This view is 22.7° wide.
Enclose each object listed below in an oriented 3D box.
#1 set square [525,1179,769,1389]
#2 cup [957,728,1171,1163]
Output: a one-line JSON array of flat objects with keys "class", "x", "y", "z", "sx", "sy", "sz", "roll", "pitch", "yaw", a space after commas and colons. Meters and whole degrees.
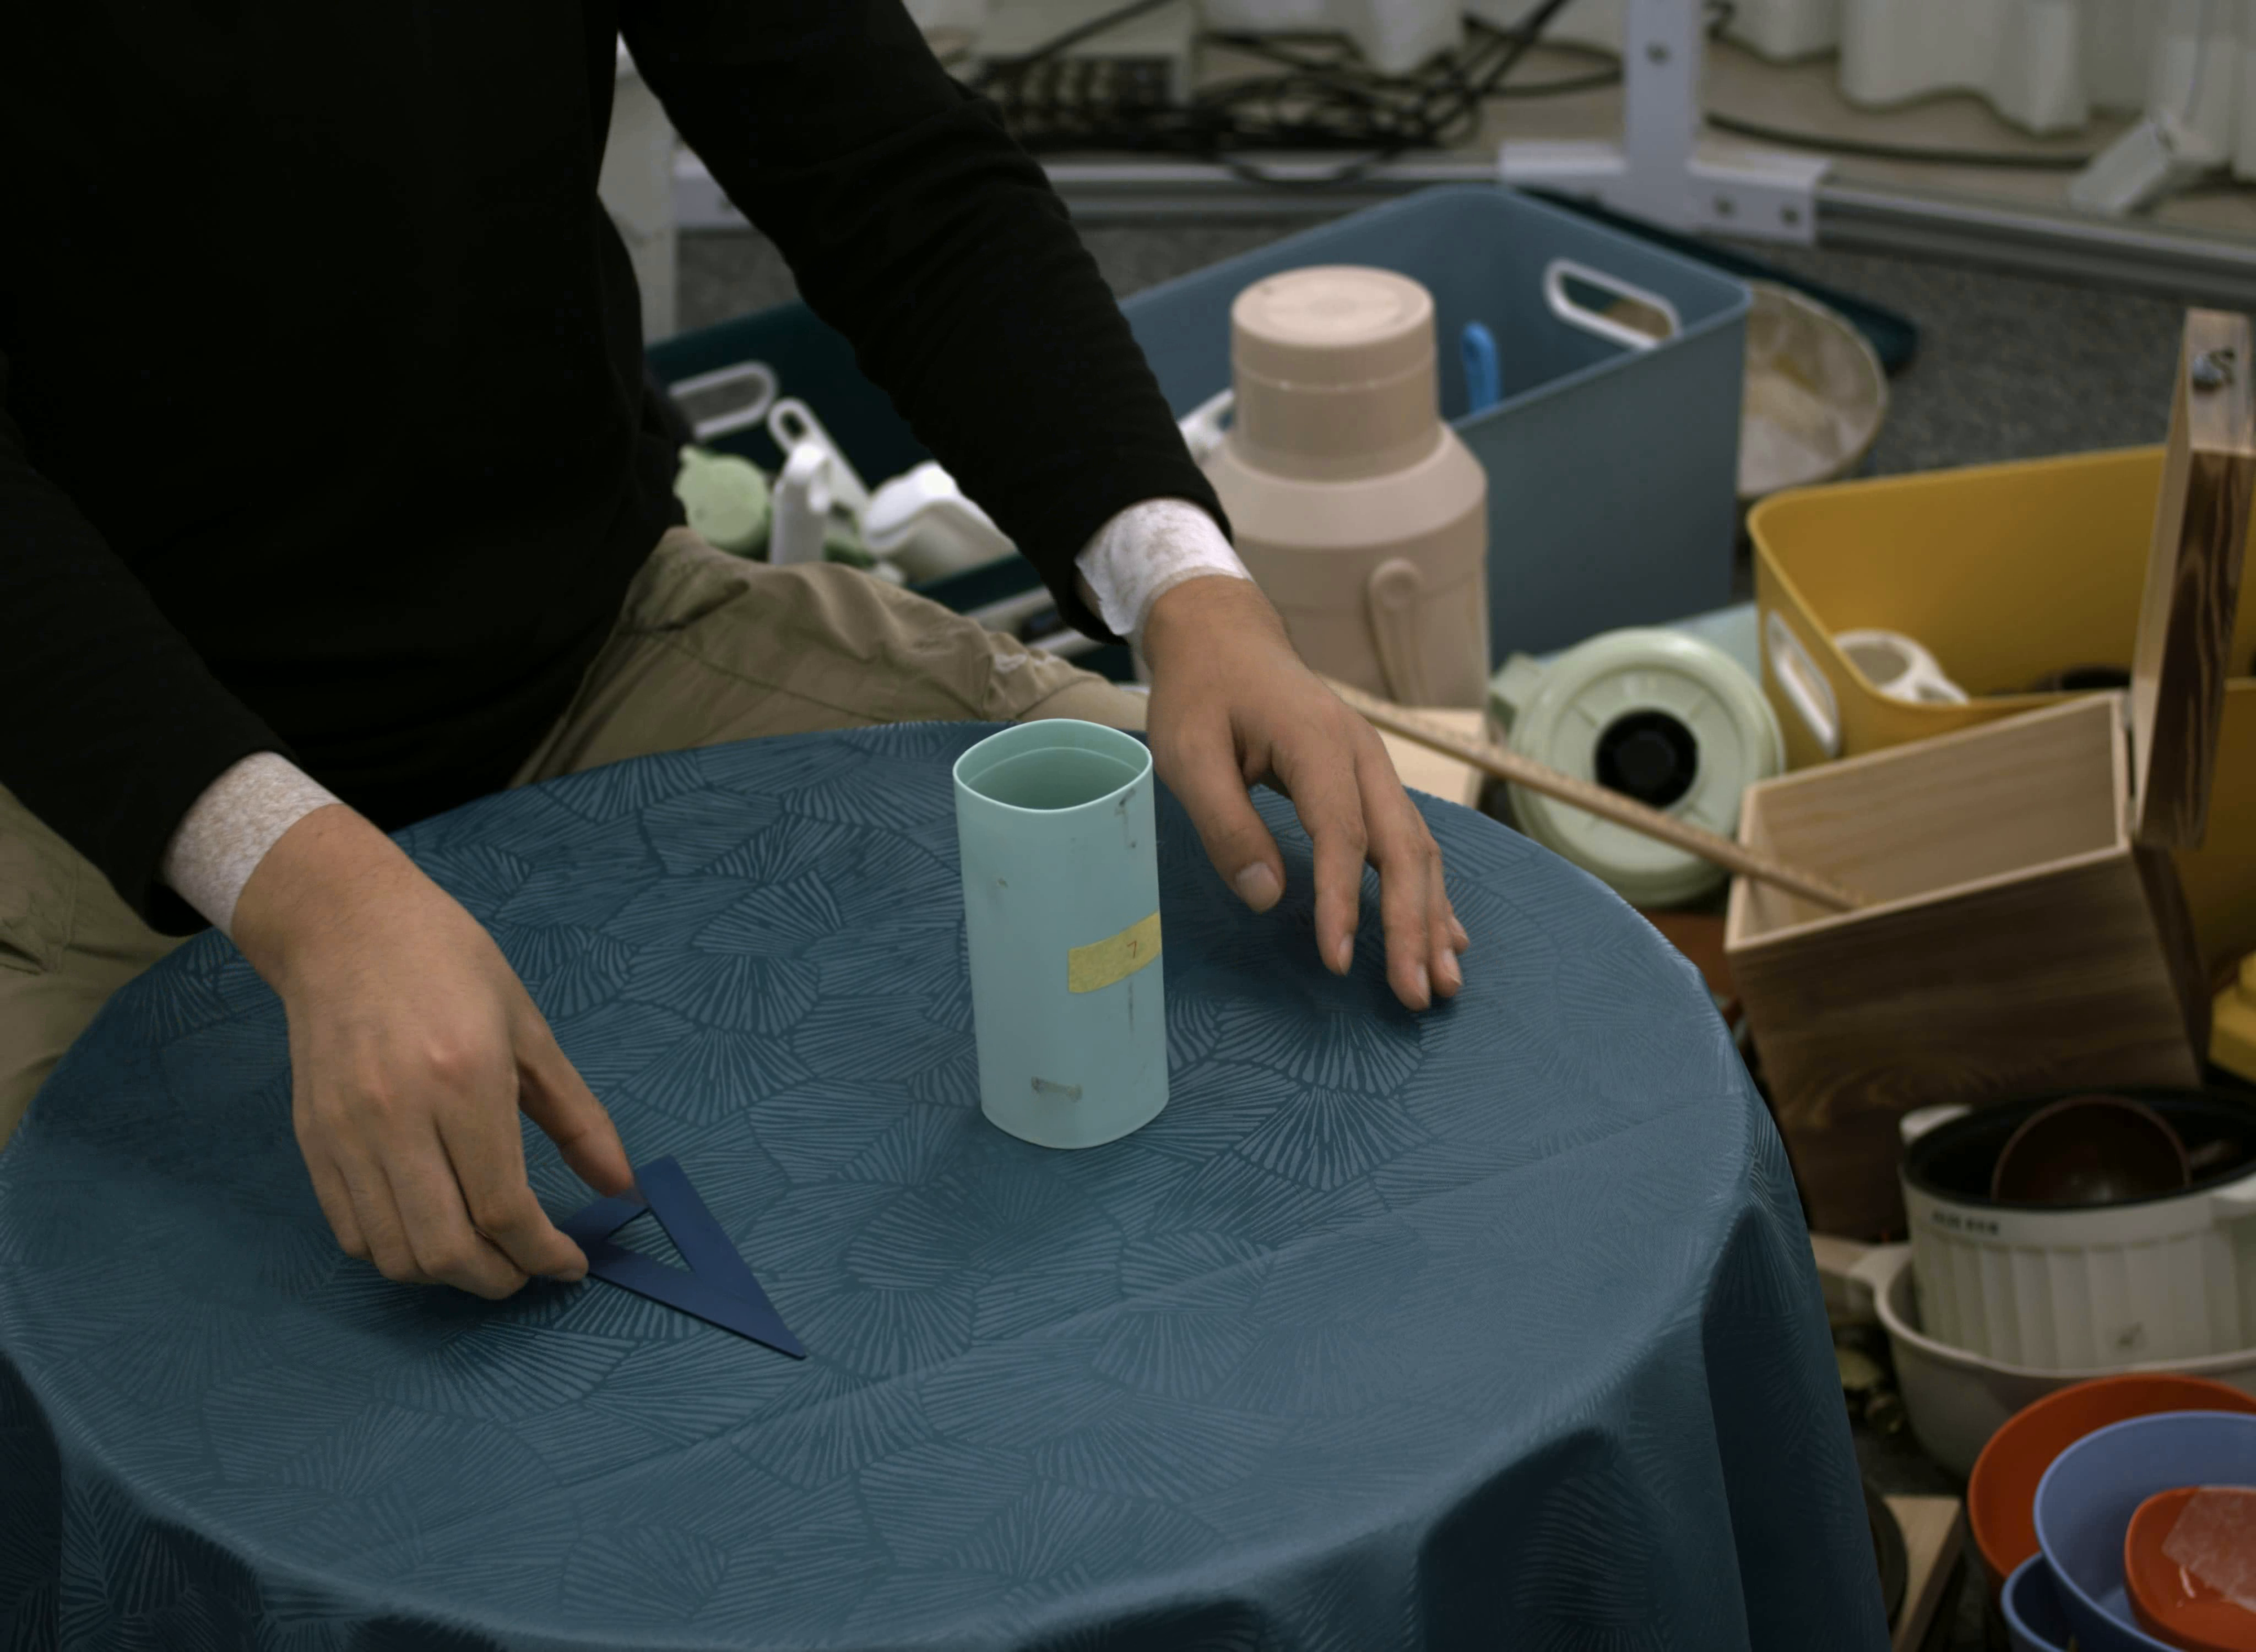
[{"class": "set square", "x": -0.158, "y": 0.152, "z": 1.815, "sx": 0.061, "sy": 0.006, "sz": 0.133, "roll": -11, "pitch": 29, "yaw": -15}, {"class": "cup", "x": -0.022, "y": 0.040, "z": 1.889, "sx": 0.066, "sy": 0.131, "sz": 0.068, "roll": -2, "pitch": 27, "yaw": 2}]
